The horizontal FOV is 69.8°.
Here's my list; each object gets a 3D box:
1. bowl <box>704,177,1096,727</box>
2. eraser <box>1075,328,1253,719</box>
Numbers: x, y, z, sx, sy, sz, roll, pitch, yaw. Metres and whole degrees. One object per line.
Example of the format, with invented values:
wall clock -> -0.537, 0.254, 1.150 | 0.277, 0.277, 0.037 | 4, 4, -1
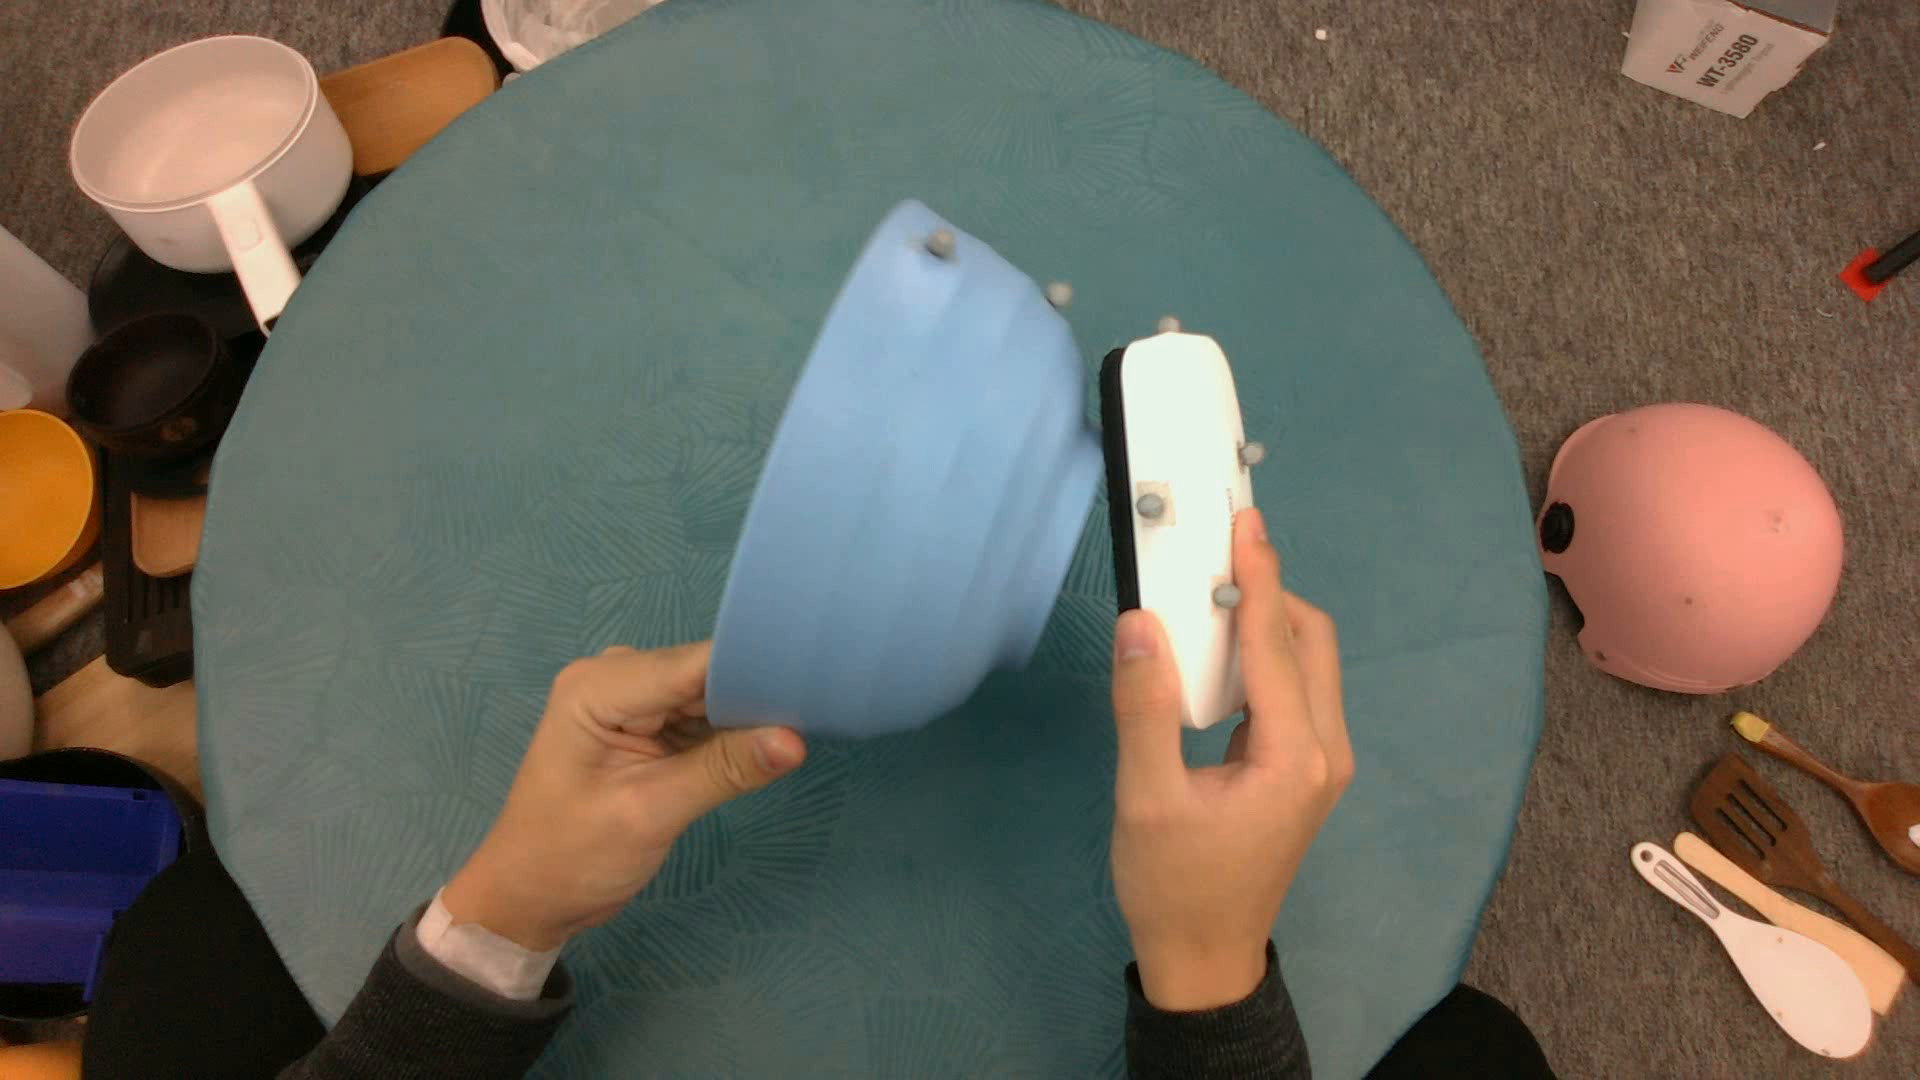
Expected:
bowl -> -0.011, -0.017, 0.484 | 0.095, 0.196, 0.197 | 18, 73, 0
eraser -> 0.072, -0.006, 0.472 | 0.034, 0.063, 0.131 | -8, 90, 34
